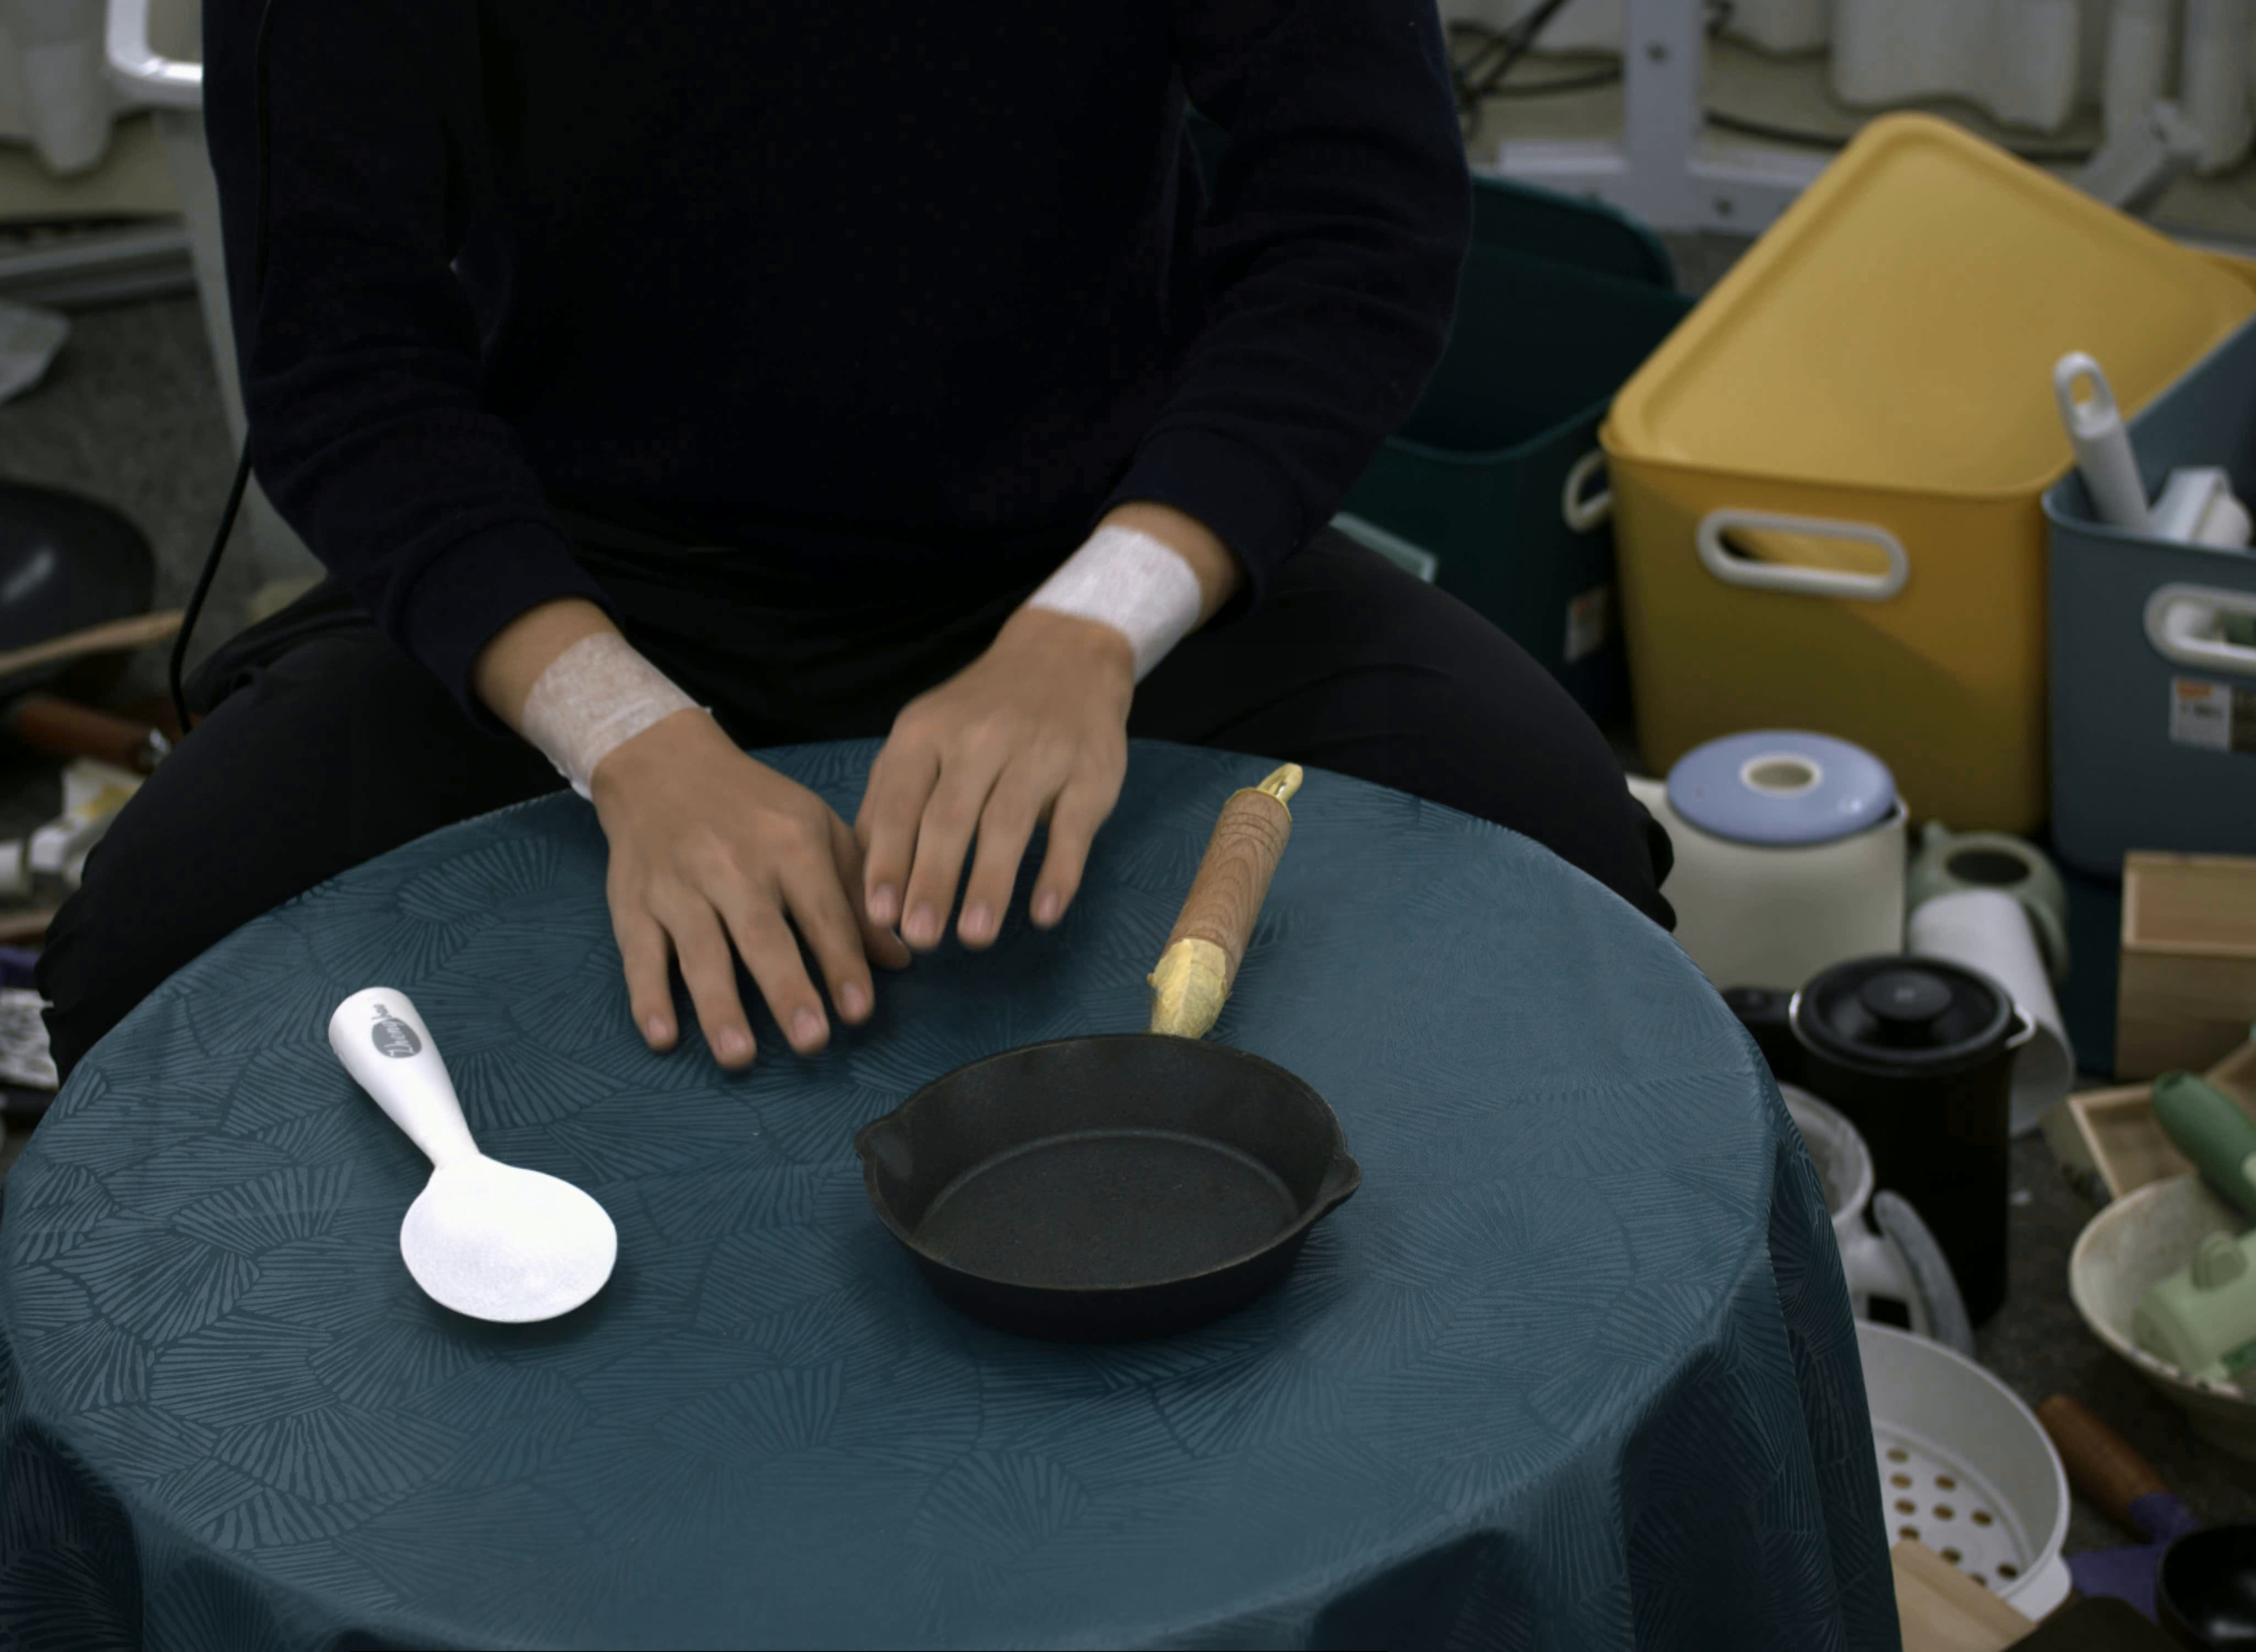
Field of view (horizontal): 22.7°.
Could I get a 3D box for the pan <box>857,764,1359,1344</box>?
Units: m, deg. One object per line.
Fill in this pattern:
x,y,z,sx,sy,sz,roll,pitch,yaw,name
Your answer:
0.016,0.074,1.898,0.168,0.049,0.330,5,30,15,pan

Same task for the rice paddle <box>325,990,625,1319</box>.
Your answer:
-0.223,0.112,1.873,0.069,0.029,0.206,-16,30,-19,rice paddle
